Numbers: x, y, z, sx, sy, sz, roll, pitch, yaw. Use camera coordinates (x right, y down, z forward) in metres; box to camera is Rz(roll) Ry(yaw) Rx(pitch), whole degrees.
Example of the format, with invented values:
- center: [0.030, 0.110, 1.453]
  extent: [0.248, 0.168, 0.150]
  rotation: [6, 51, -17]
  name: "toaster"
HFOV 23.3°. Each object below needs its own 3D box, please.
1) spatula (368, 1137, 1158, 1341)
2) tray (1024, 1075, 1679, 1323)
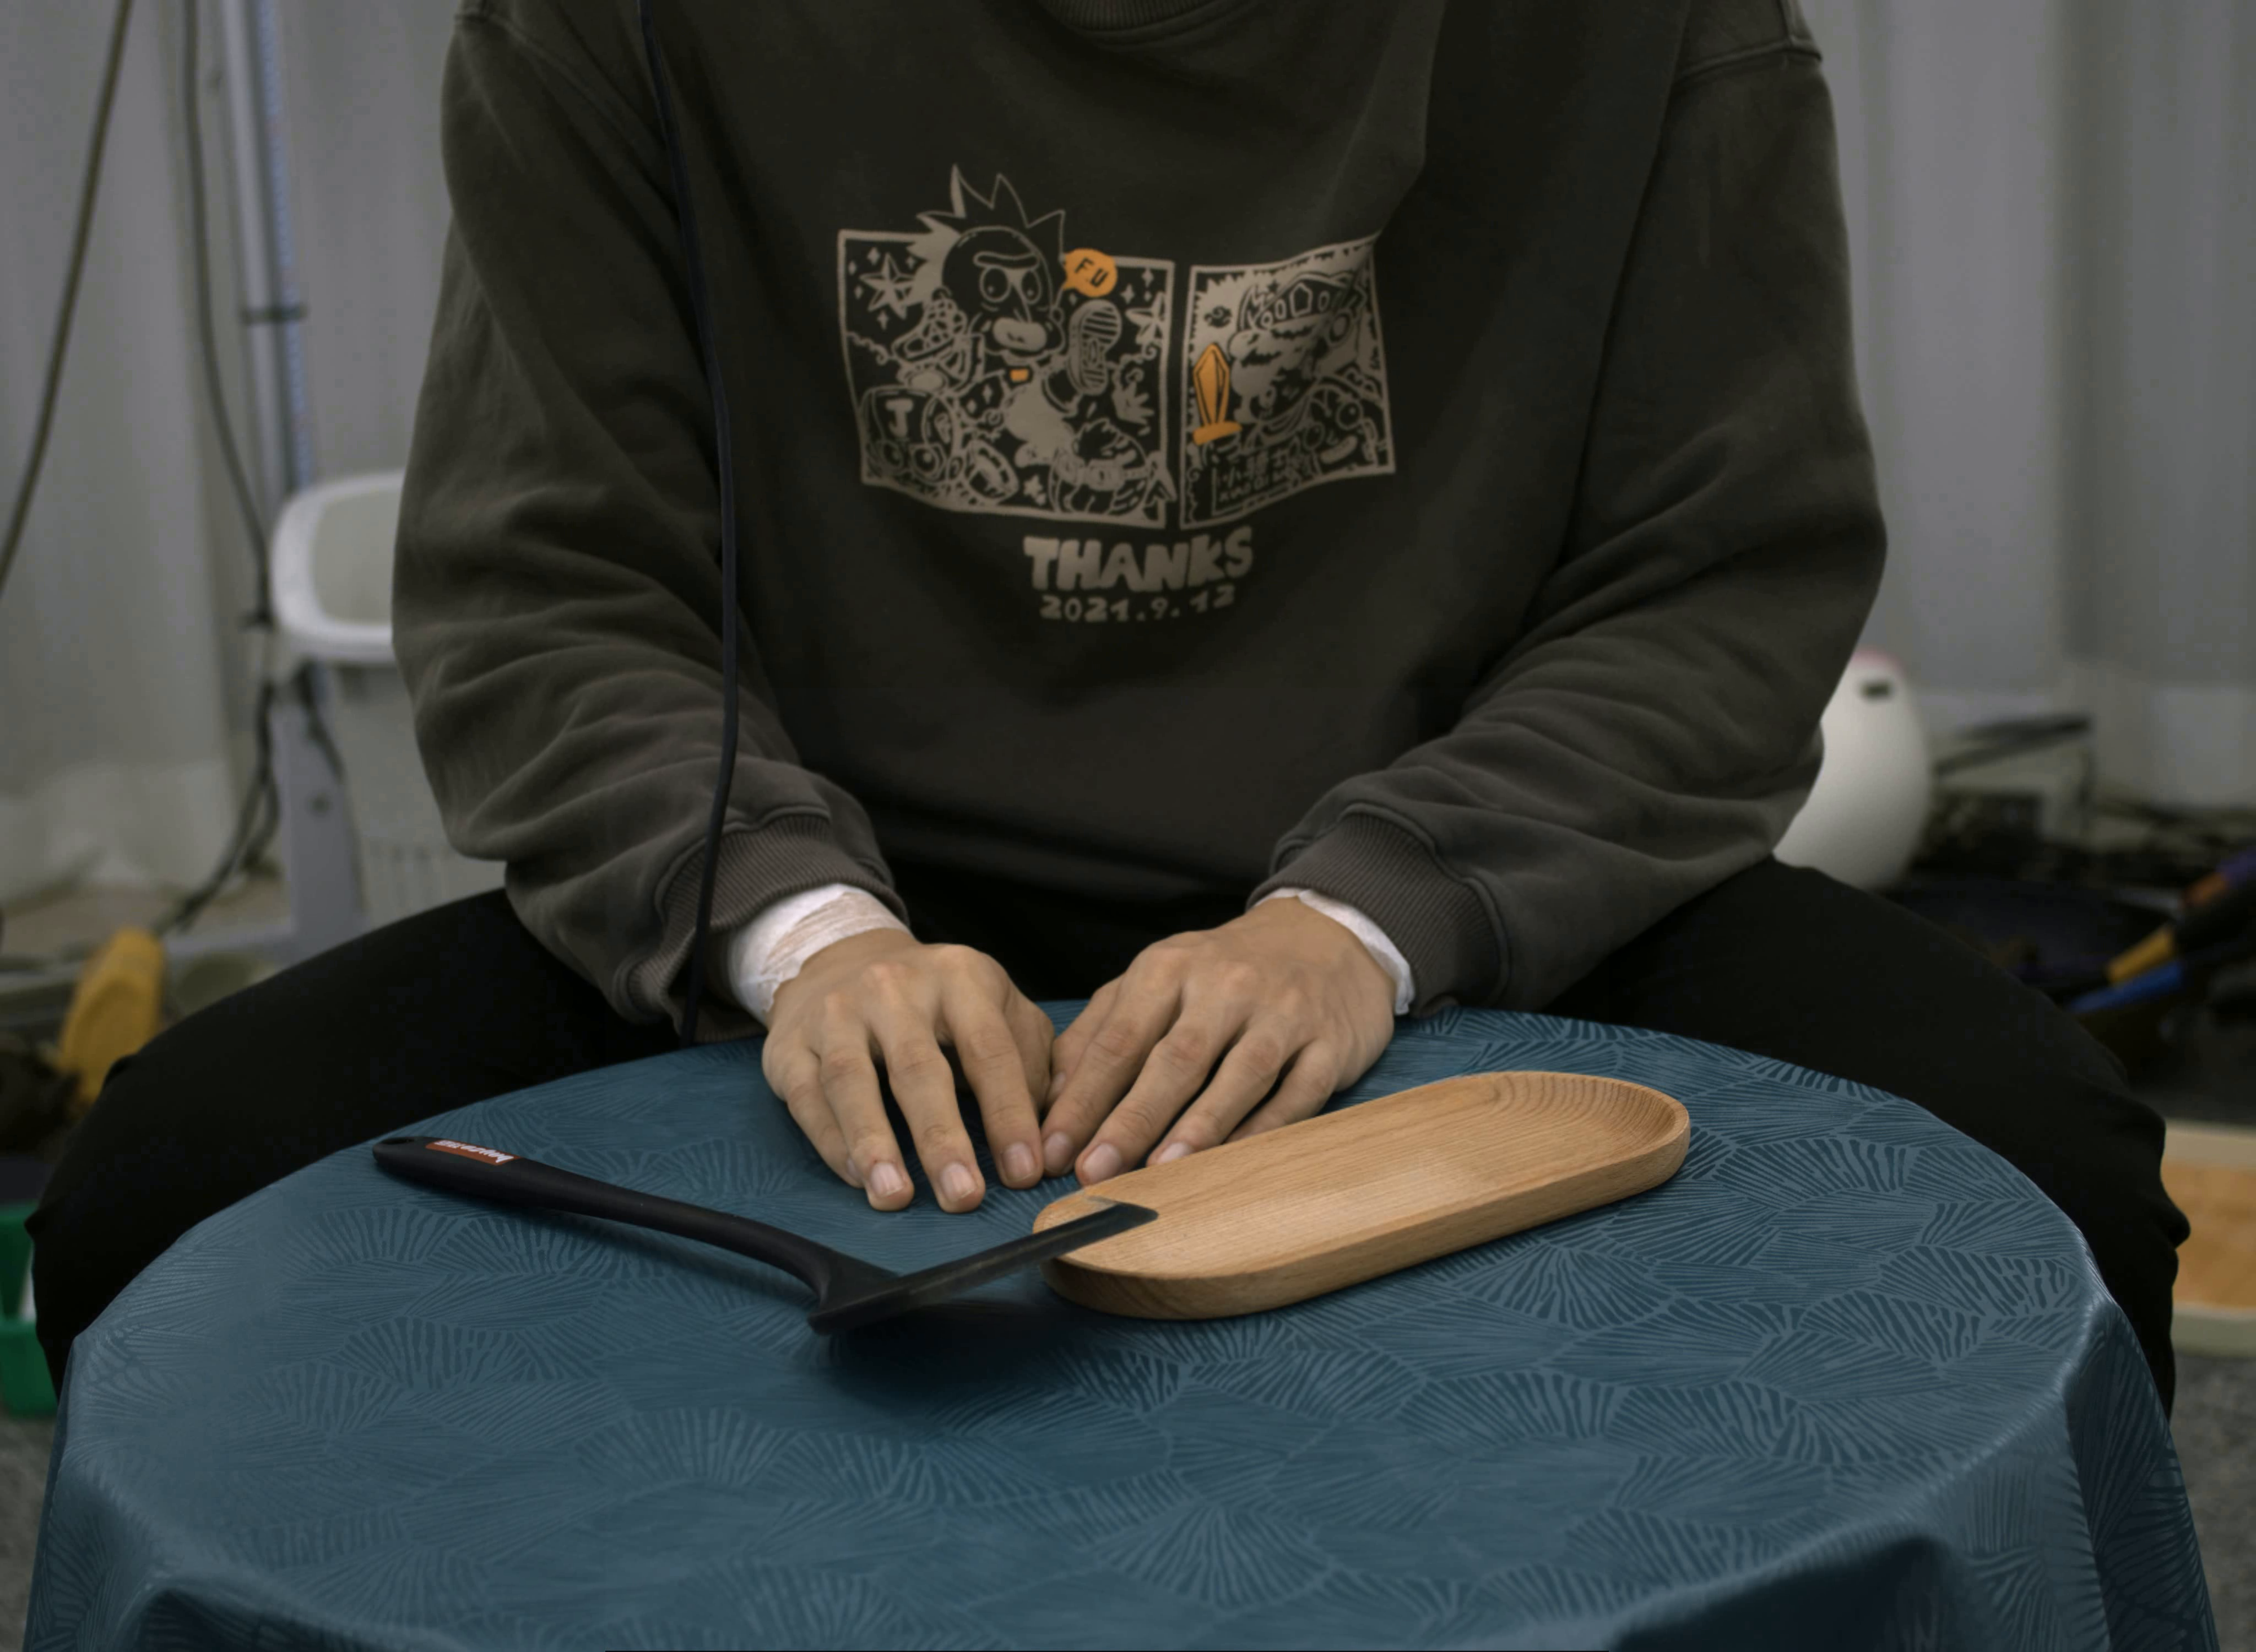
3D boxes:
- center: [-0.132, 0.116, 1.672]
  extent: [0.099, 0.040, 0.328]
  rotation: [-15, 19, -42]
  name: "spatula"
- center: [0.071, 0.114, 1.681]
  extent: [0.230, 0.020, 0.102]
  rotation: [-15, 19, -35]
  name: "tray"
